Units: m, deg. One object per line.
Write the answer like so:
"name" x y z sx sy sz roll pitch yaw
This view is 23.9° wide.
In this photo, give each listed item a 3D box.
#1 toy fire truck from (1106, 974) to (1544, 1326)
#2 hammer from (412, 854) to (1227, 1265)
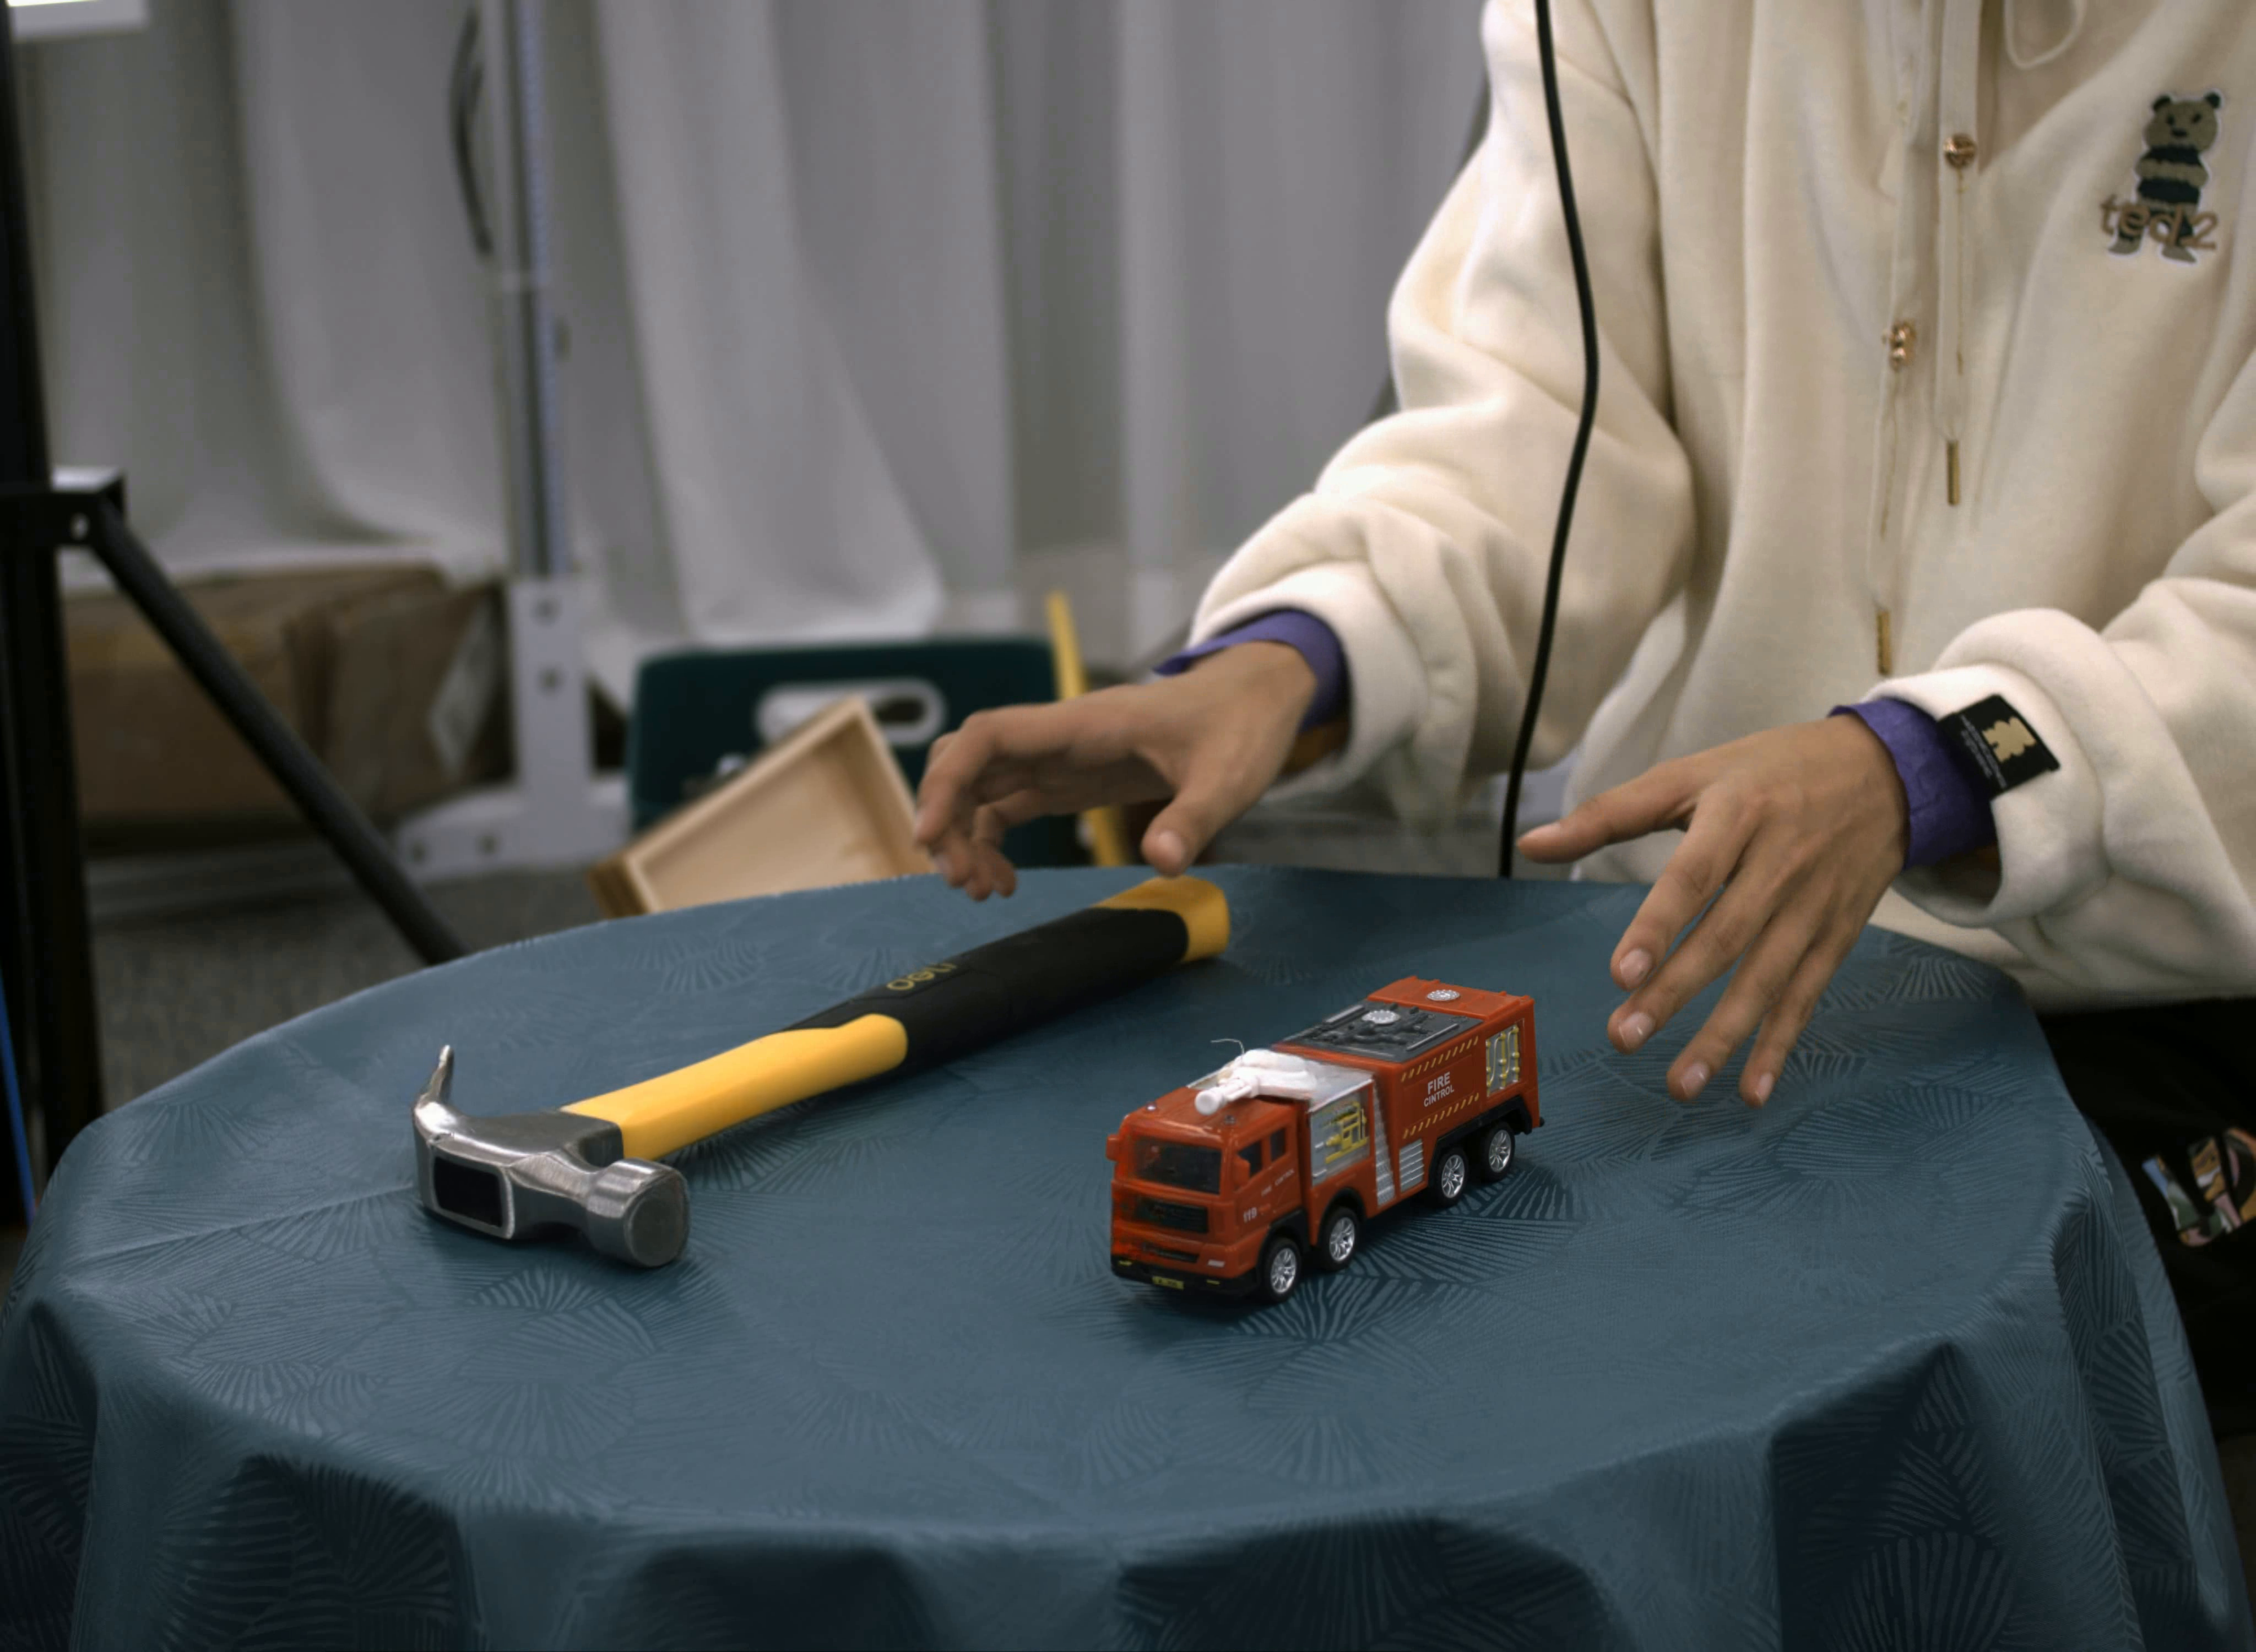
"toy fire truck" 0.057 0.089 1.509 0.055 0.070 0.164 9 18 35
"hammer" -0.085 0.062 1.661 0.134 0.032 0.331 10 21 40
